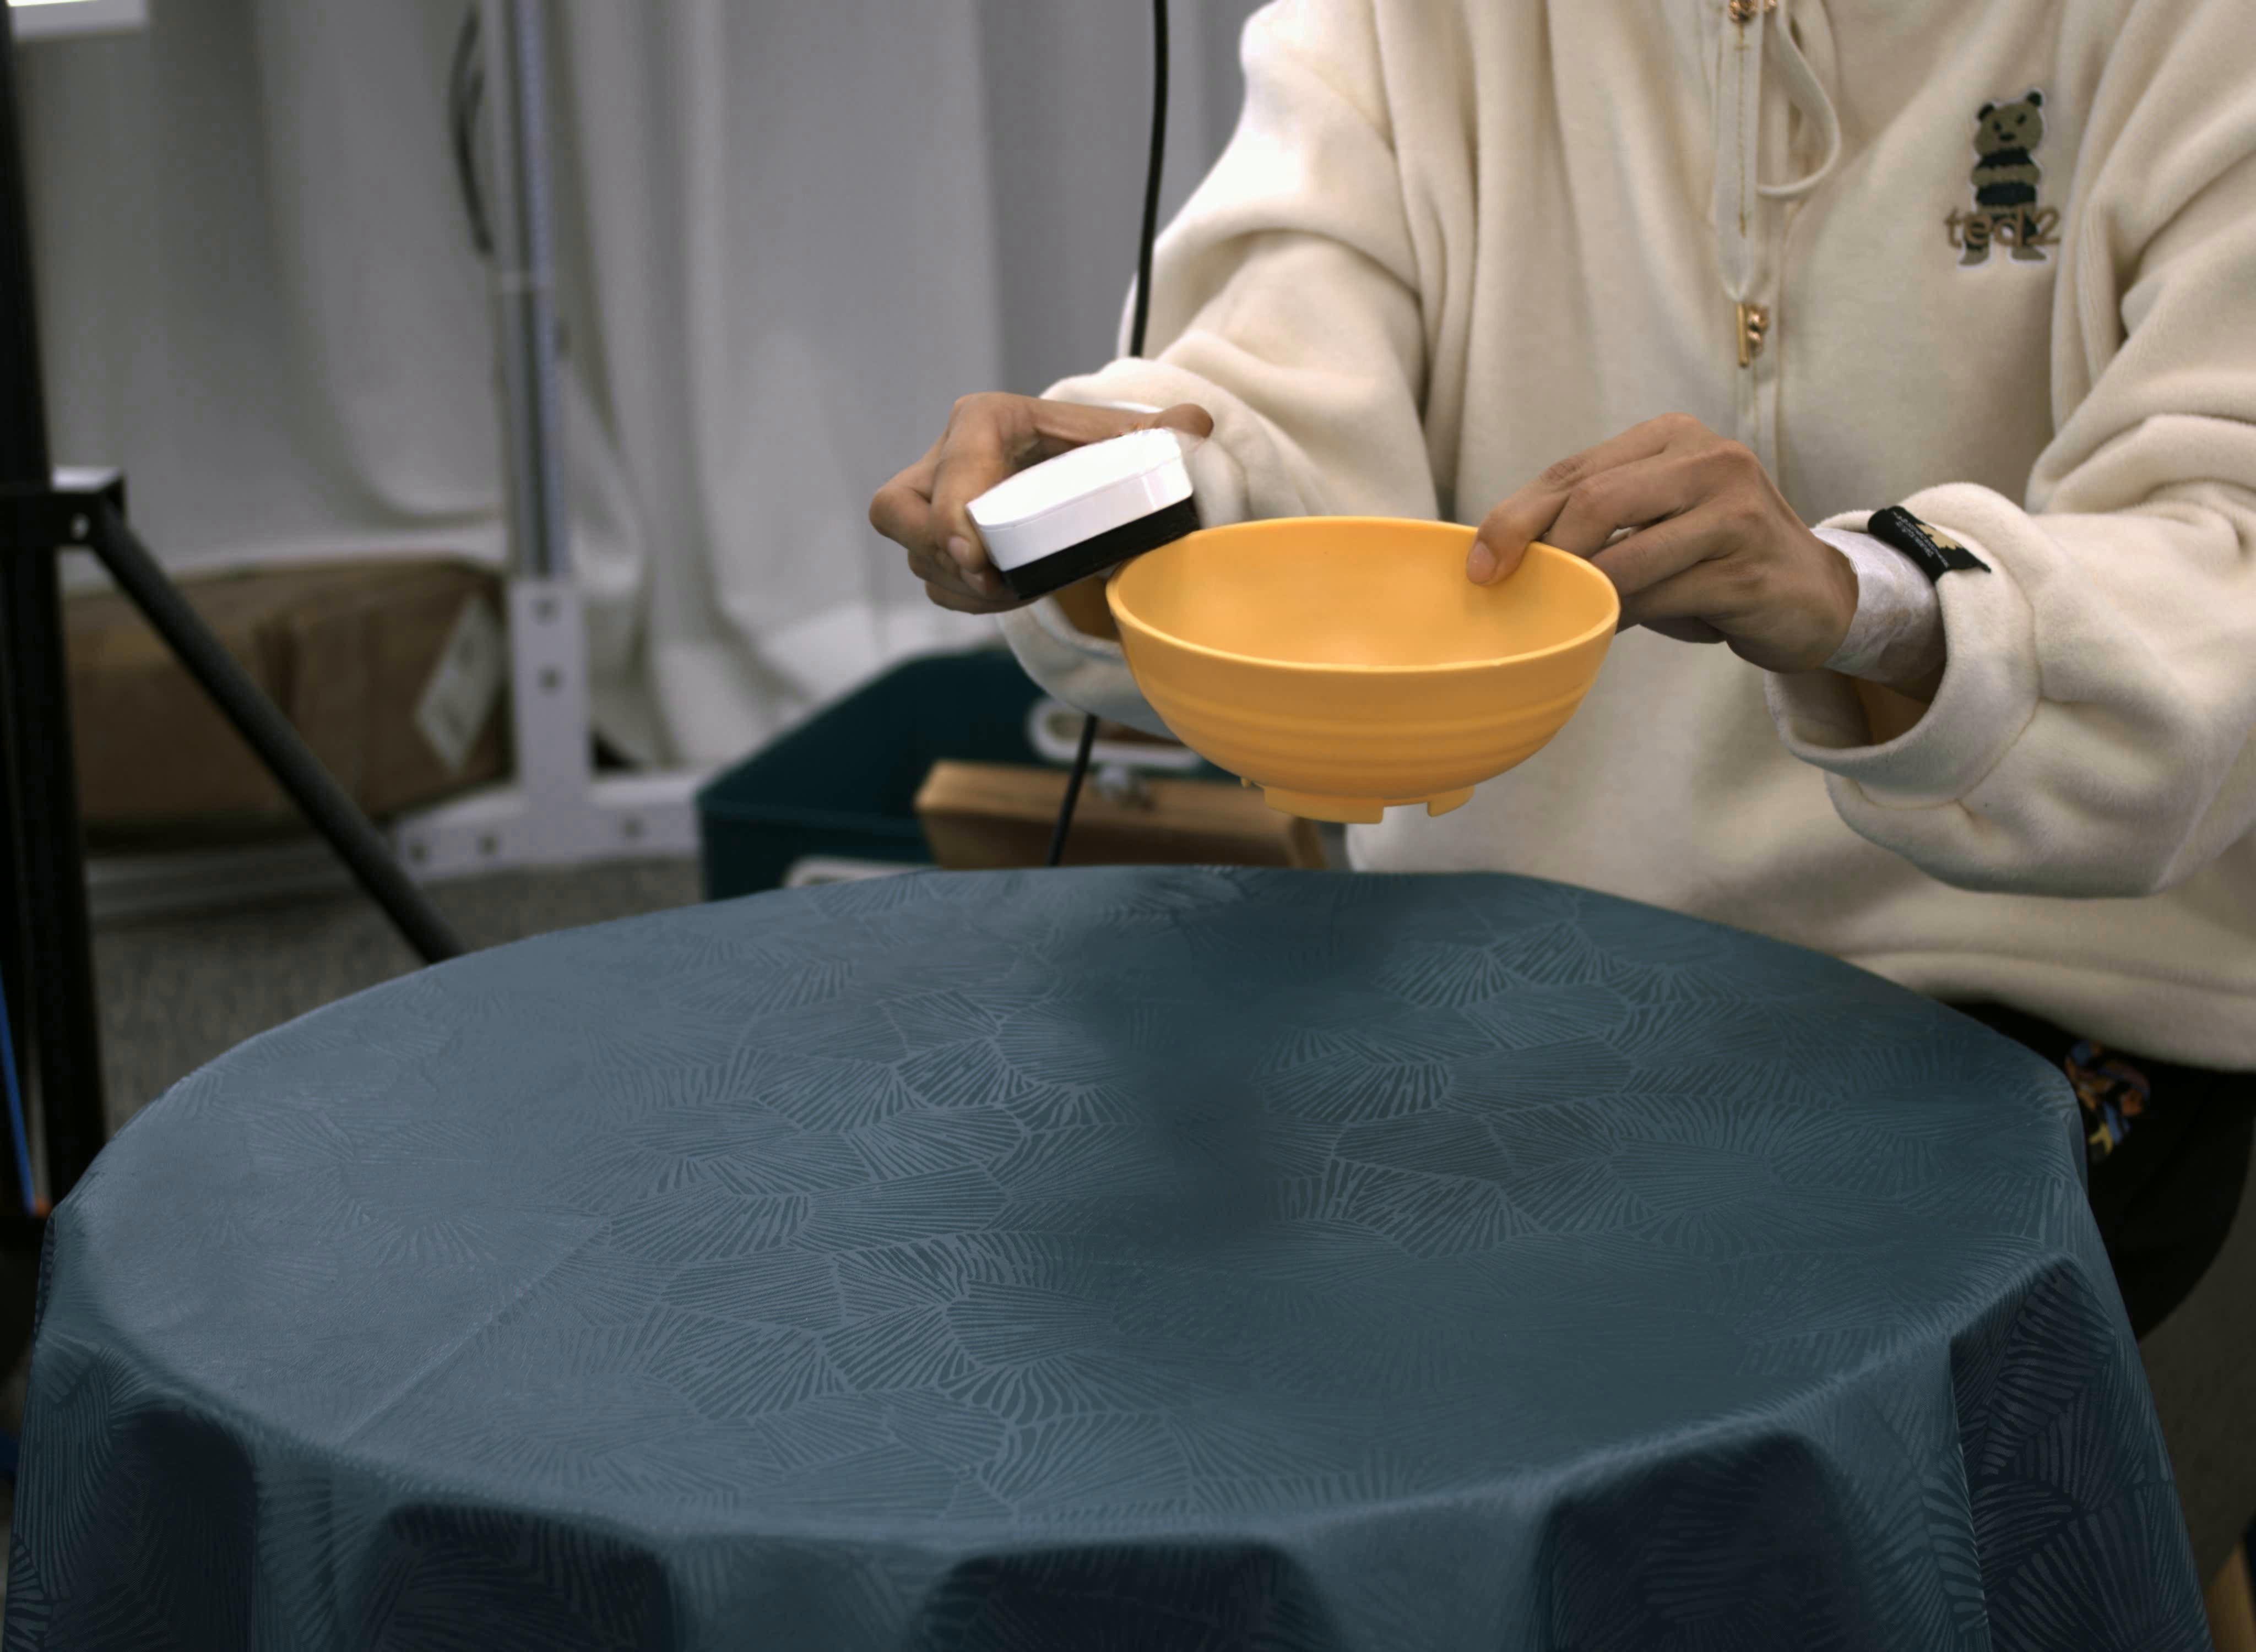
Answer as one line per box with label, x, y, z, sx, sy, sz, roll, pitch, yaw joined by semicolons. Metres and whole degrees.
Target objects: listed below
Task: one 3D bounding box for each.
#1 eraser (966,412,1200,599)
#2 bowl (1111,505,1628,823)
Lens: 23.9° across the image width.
eraser;-0.012;-0.092;1.542;0.063;0.034;0.132;-21;6;-1
bowl;0.067;-0.039;1.489;0.144;0.060;0.146;-1;21;-1
